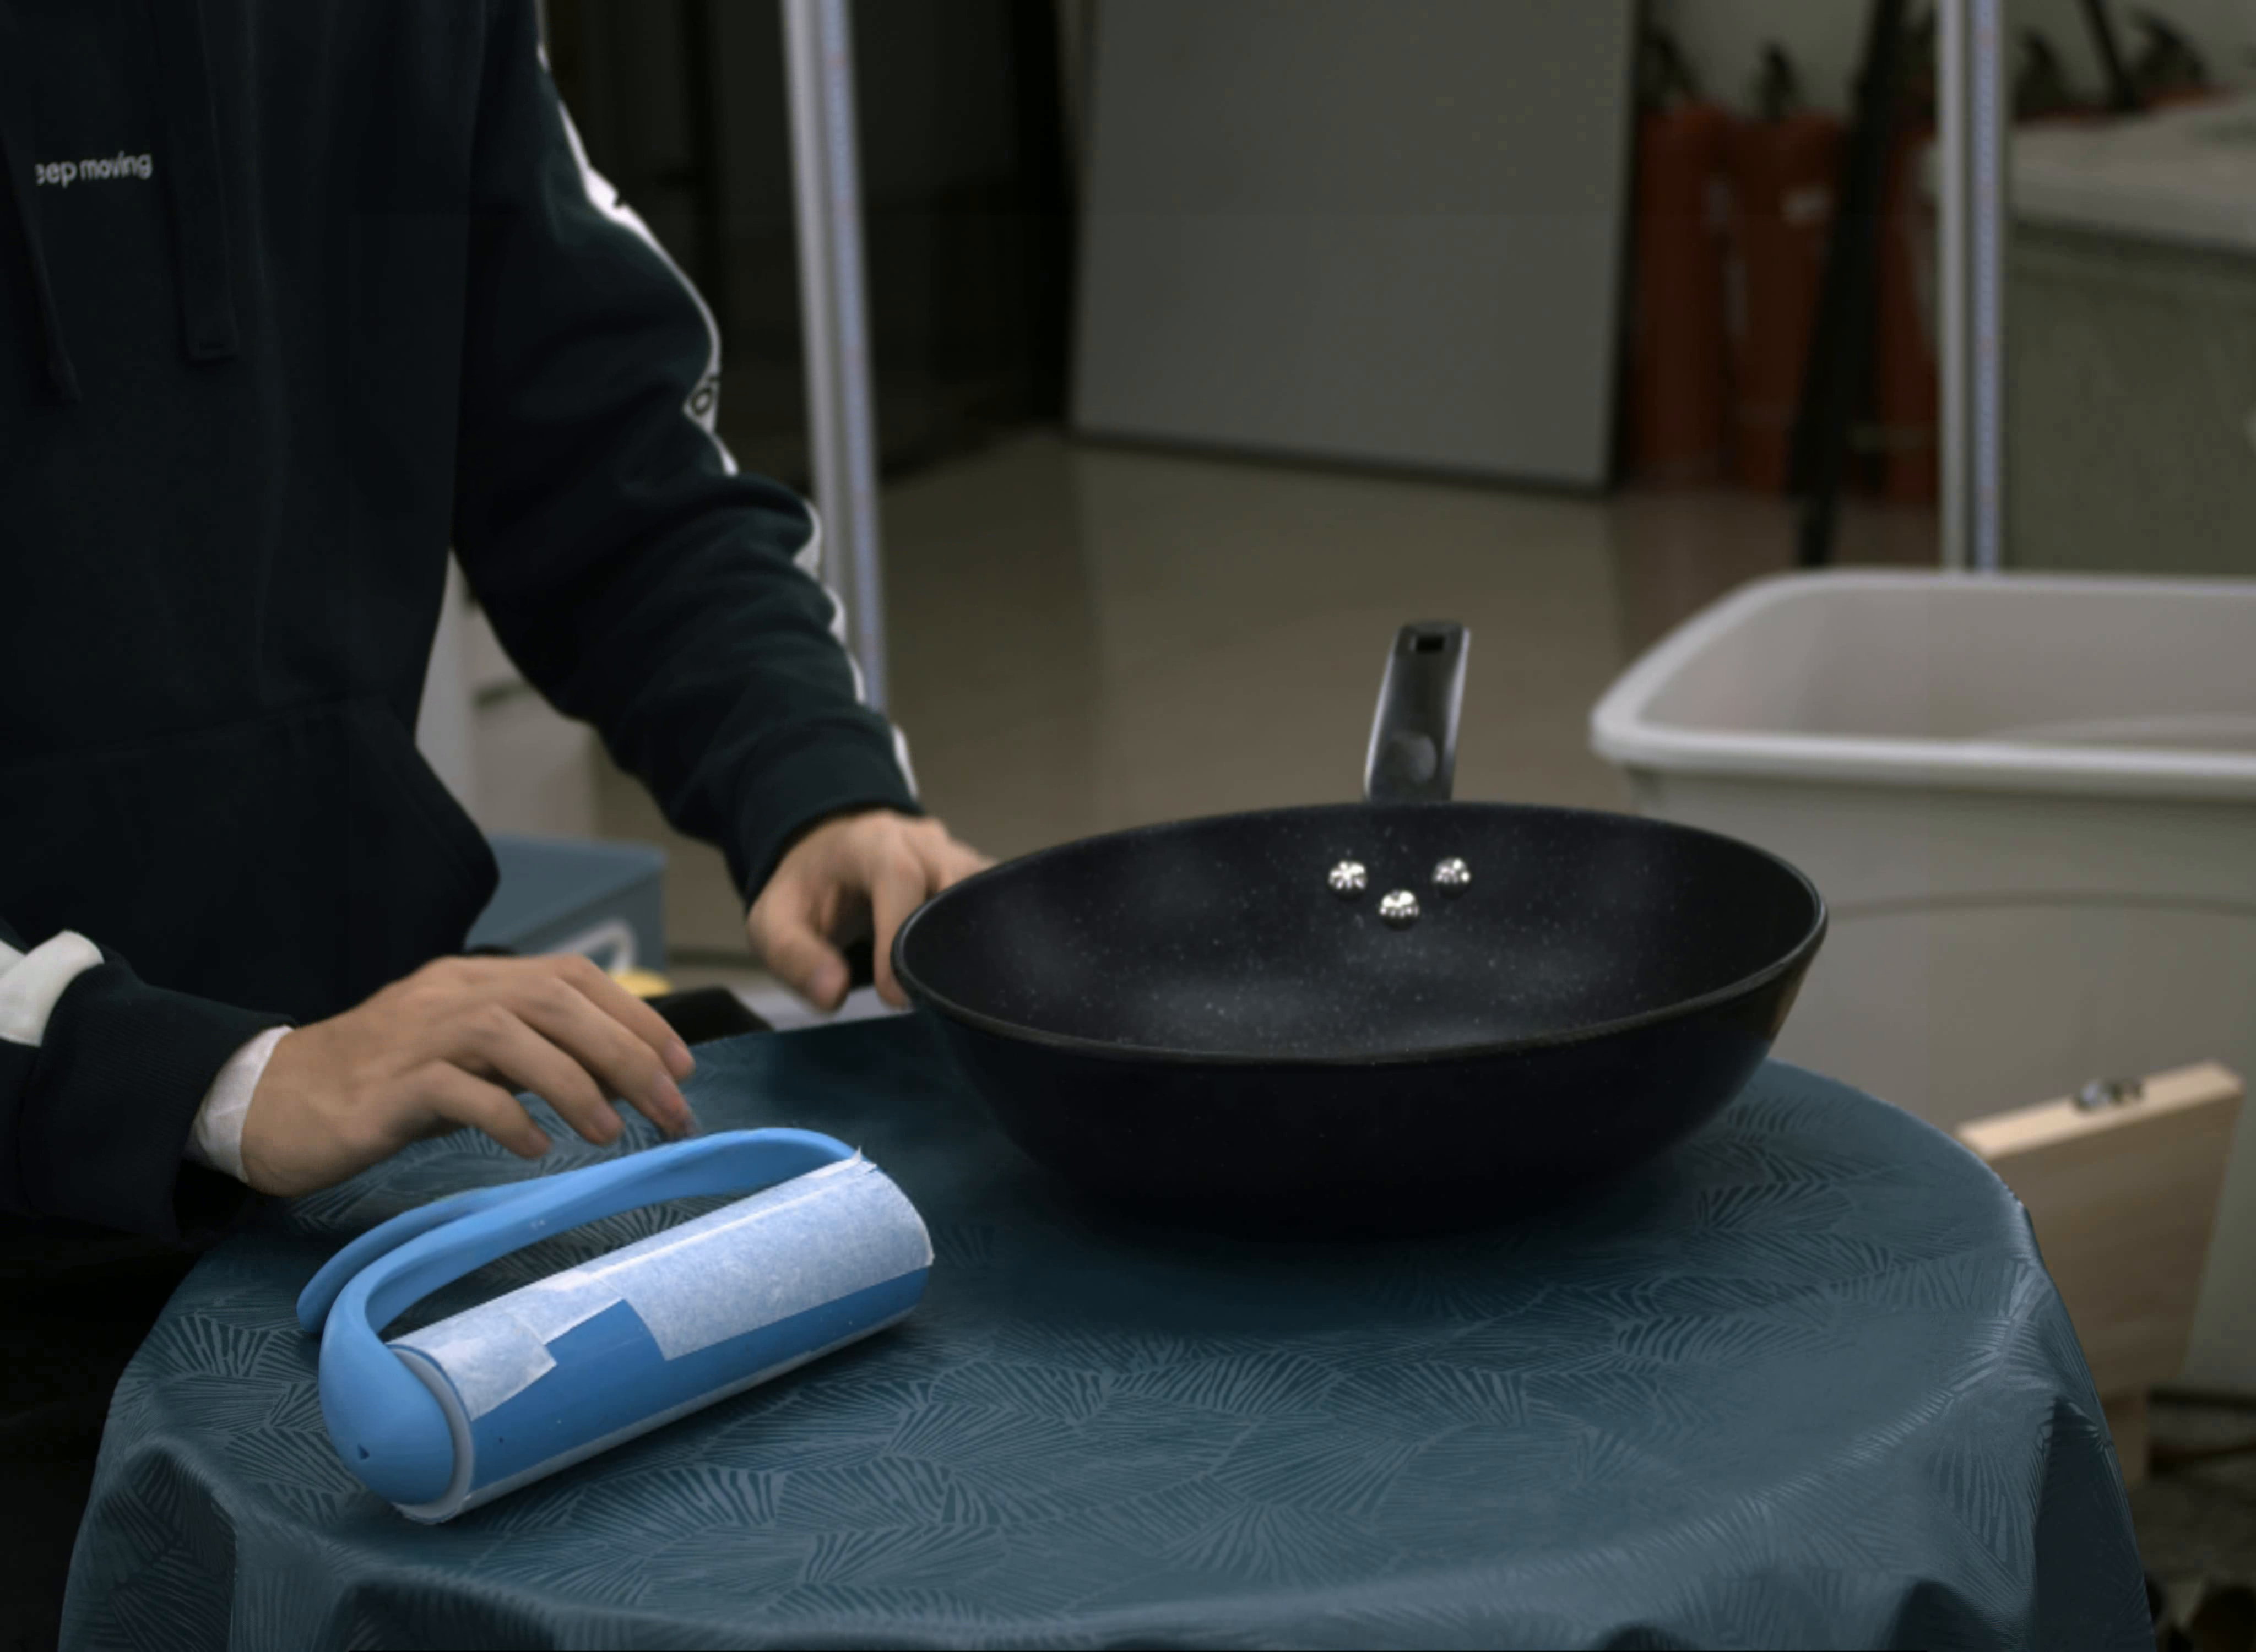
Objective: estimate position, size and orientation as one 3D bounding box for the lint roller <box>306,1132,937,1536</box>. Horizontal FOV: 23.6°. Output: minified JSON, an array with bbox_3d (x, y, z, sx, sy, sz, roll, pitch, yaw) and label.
[{"bbox_3d":[-0.184,0.143,1.620,0.181,0.068,0.225,7,20,37],"label":"lint roller"}]

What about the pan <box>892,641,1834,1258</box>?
[{"bbox_3d":[0.088,0.043,1.842,0.307,0.113,0.475,0,14,8],"label":"pan"}]
